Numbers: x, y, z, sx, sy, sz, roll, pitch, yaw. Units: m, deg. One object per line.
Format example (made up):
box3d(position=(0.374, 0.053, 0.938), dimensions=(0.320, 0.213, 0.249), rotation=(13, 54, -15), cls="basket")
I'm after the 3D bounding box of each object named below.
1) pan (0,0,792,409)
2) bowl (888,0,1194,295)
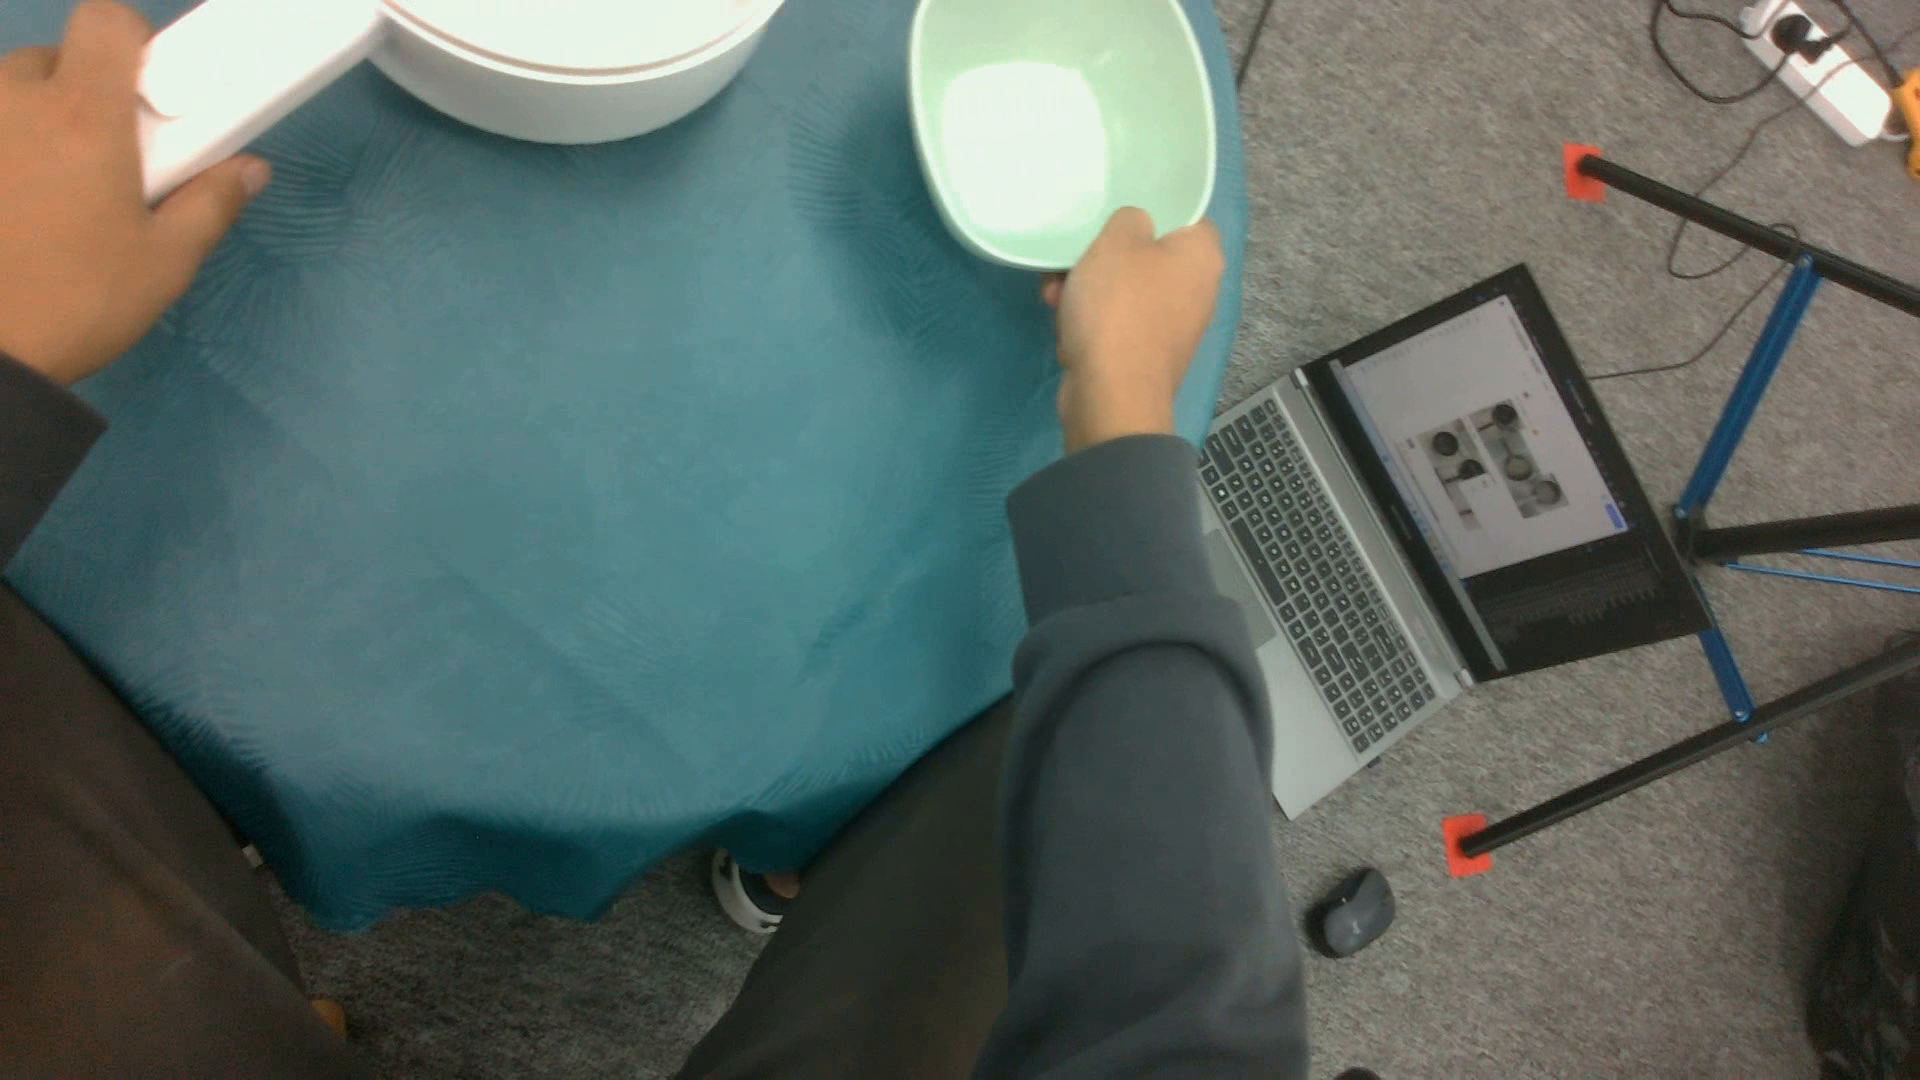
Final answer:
box3d(position=(-0.221, -0.183, 0.545), dimensions=(0.201, 0.102, 0.356), rotation=(43, 73, -10), cls="pan")
box3d(position=(0.030, -0.172, 0.631), dimensions=(0.151, 0.058, 0.151), rotation=(3, 79, -17), cls="bowl")
